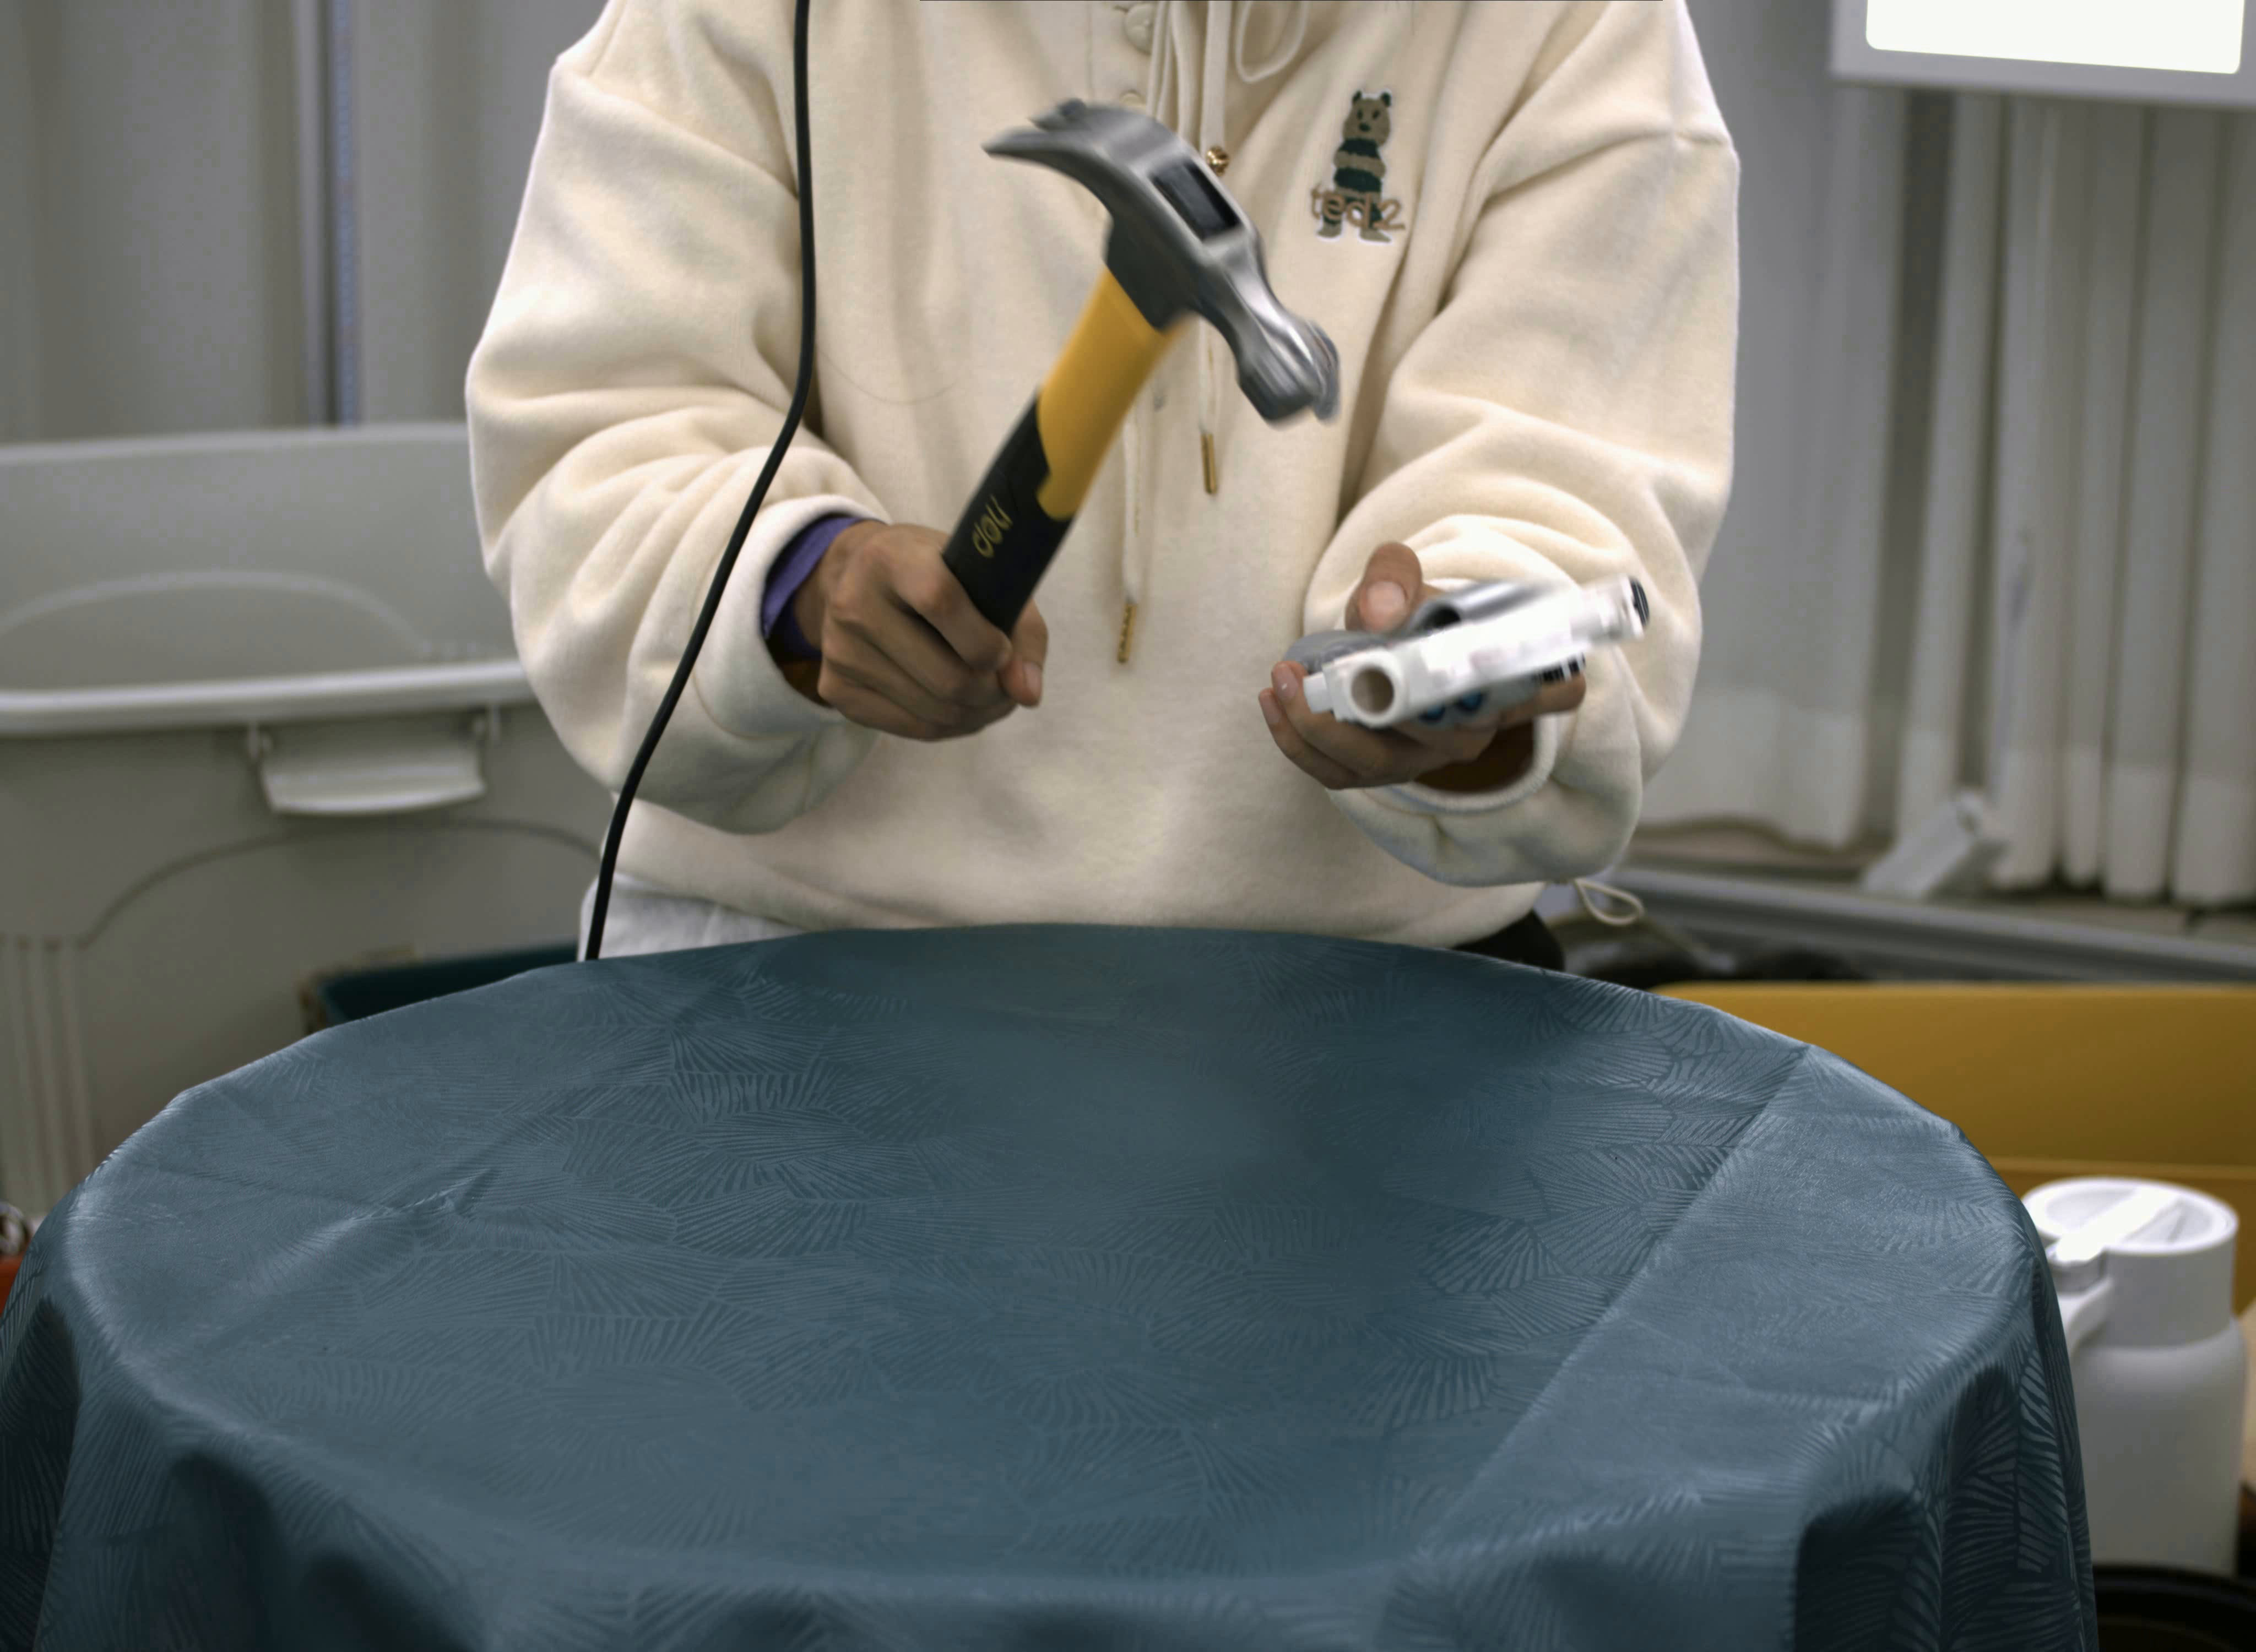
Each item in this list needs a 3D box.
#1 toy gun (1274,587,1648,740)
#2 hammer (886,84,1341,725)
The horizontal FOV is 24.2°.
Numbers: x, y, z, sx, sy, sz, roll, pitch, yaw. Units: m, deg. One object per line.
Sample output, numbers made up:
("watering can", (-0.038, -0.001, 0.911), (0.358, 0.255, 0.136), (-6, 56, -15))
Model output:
("toy gun", (0.079, -0.045, 1.562), (0.140, 0.039, 0.210), (-11, 3, 29))
("hammer", (-0.025, -0.120, 1.678), (0.032, 0.131, 0.339), (-33, -12, -26))
